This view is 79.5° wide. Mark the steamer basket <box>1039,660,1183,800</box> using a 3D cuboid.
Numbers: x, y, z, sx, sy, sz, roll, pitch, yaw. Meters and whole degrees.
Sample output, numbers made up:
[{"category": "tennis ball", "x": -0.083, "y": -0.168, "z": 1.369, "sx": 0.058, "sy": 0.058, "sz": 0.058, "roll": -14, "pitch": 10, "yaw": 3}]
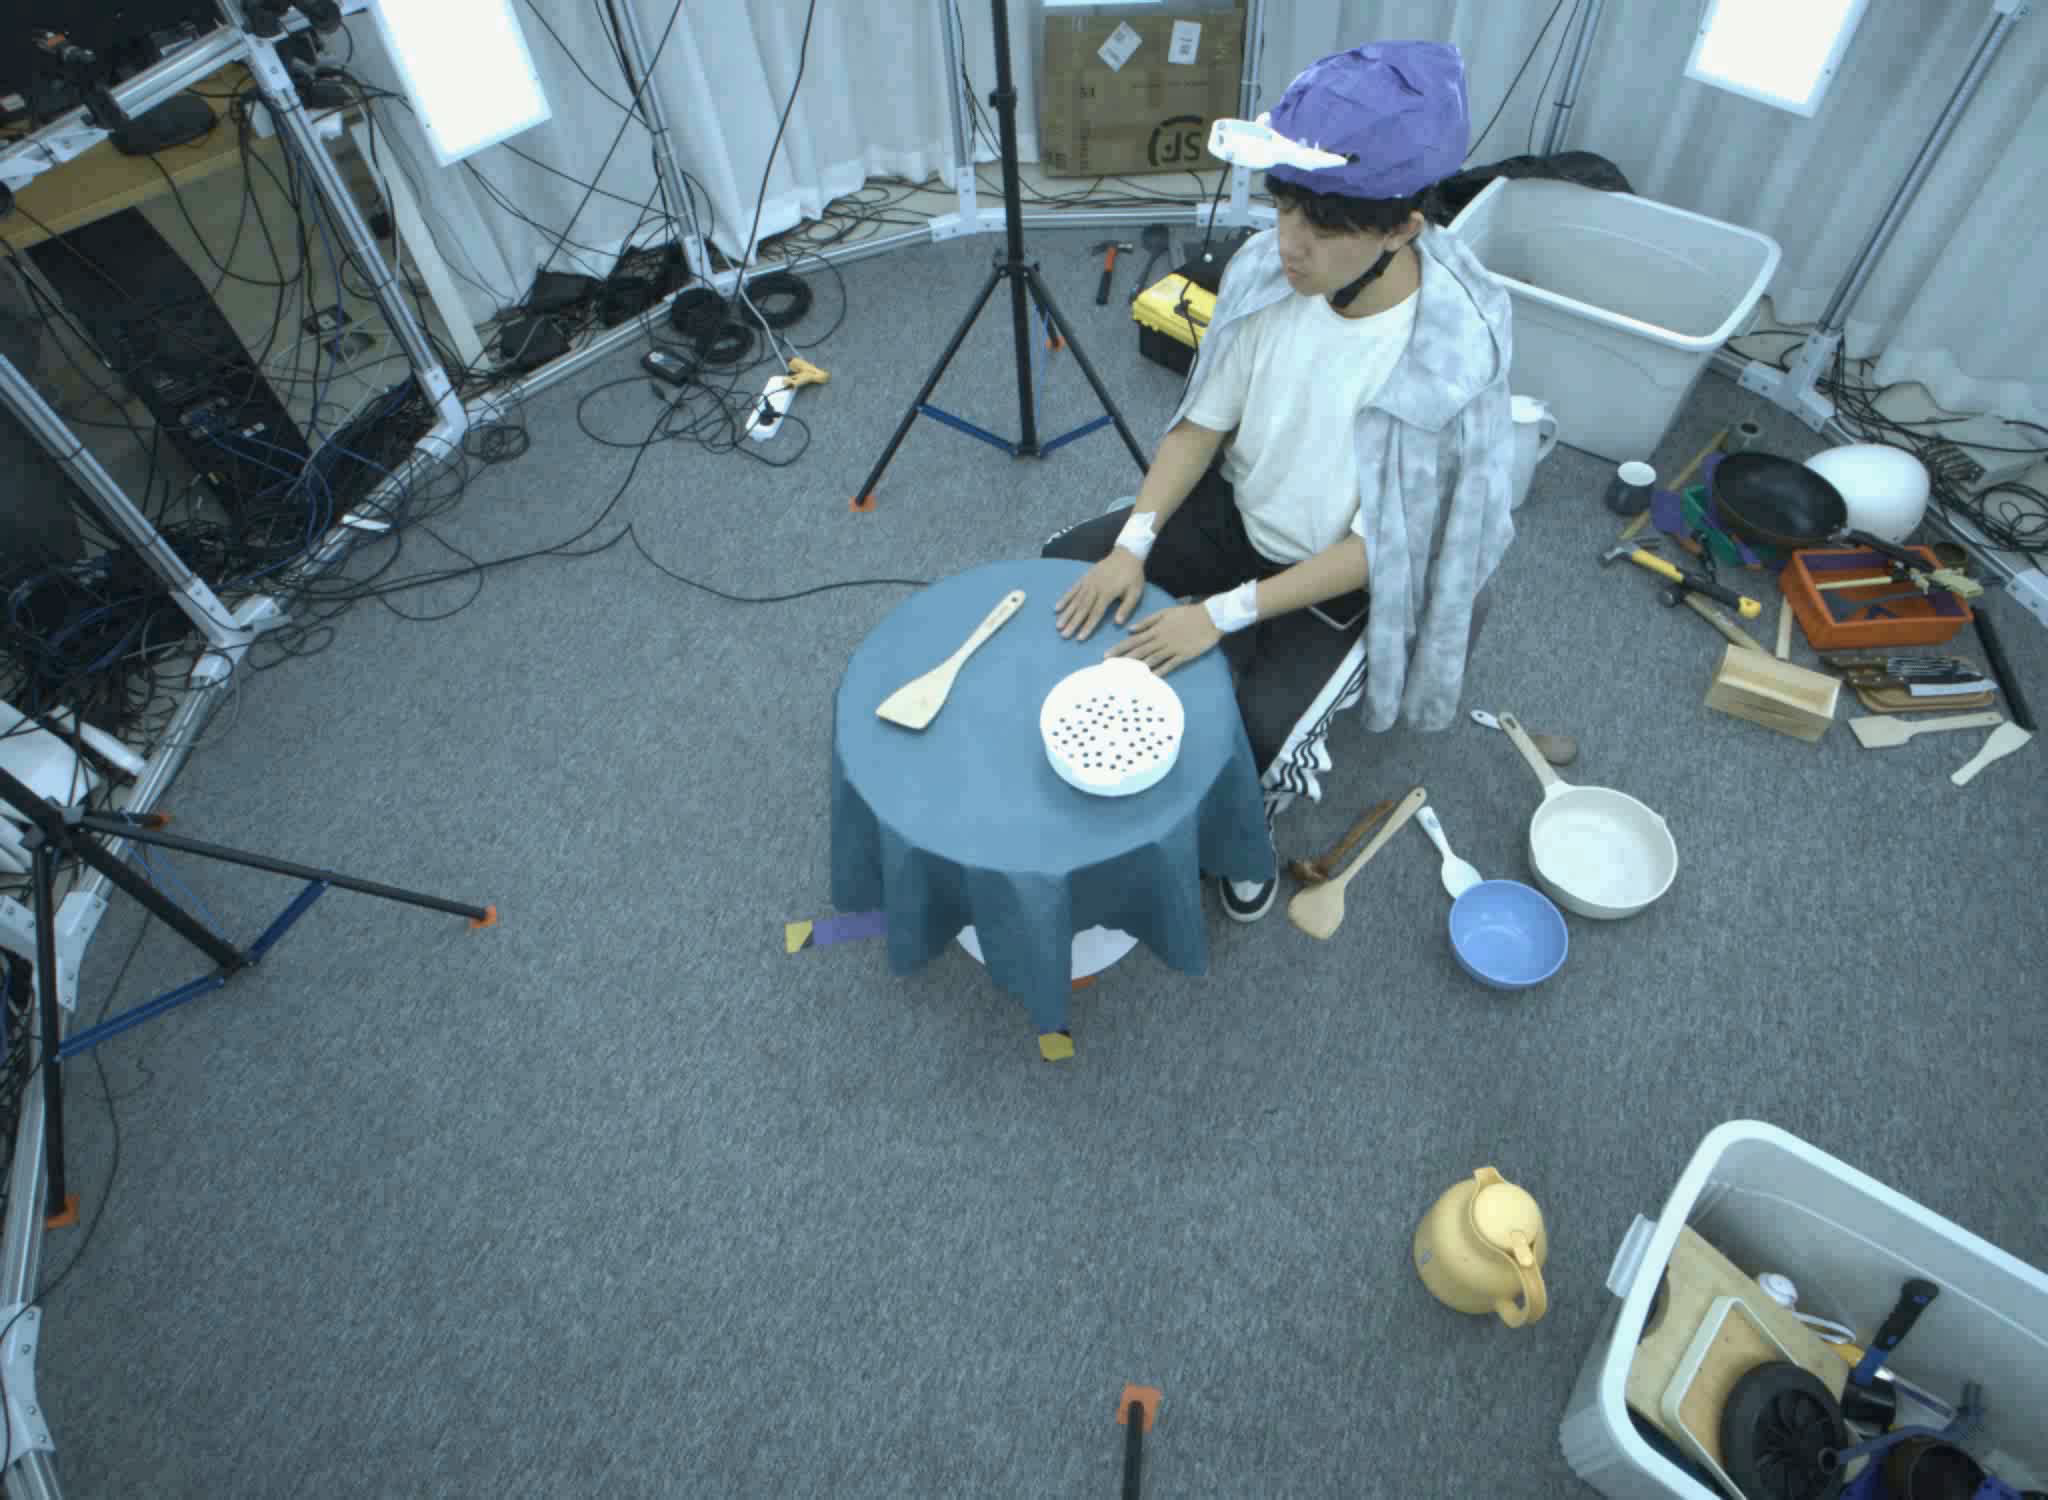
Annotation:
[{"category": "steamer basket", "x": 0.124, "y": -0.023, "z": 1.761, "sx": 0.200, "sy": 0.070, "sz": 0.229, "roll": 11, "pitch": 55, "yaw": 9}]

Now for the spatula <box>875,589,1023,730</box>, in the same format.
[{"category": "spatula", "x": -0.100, "y": -0.145, "z": 1.885, "sx": 0.079, "sy": 0.017, "sz": 0.329, "roll": 29, "pitch": 60, "yaw": 20}]
